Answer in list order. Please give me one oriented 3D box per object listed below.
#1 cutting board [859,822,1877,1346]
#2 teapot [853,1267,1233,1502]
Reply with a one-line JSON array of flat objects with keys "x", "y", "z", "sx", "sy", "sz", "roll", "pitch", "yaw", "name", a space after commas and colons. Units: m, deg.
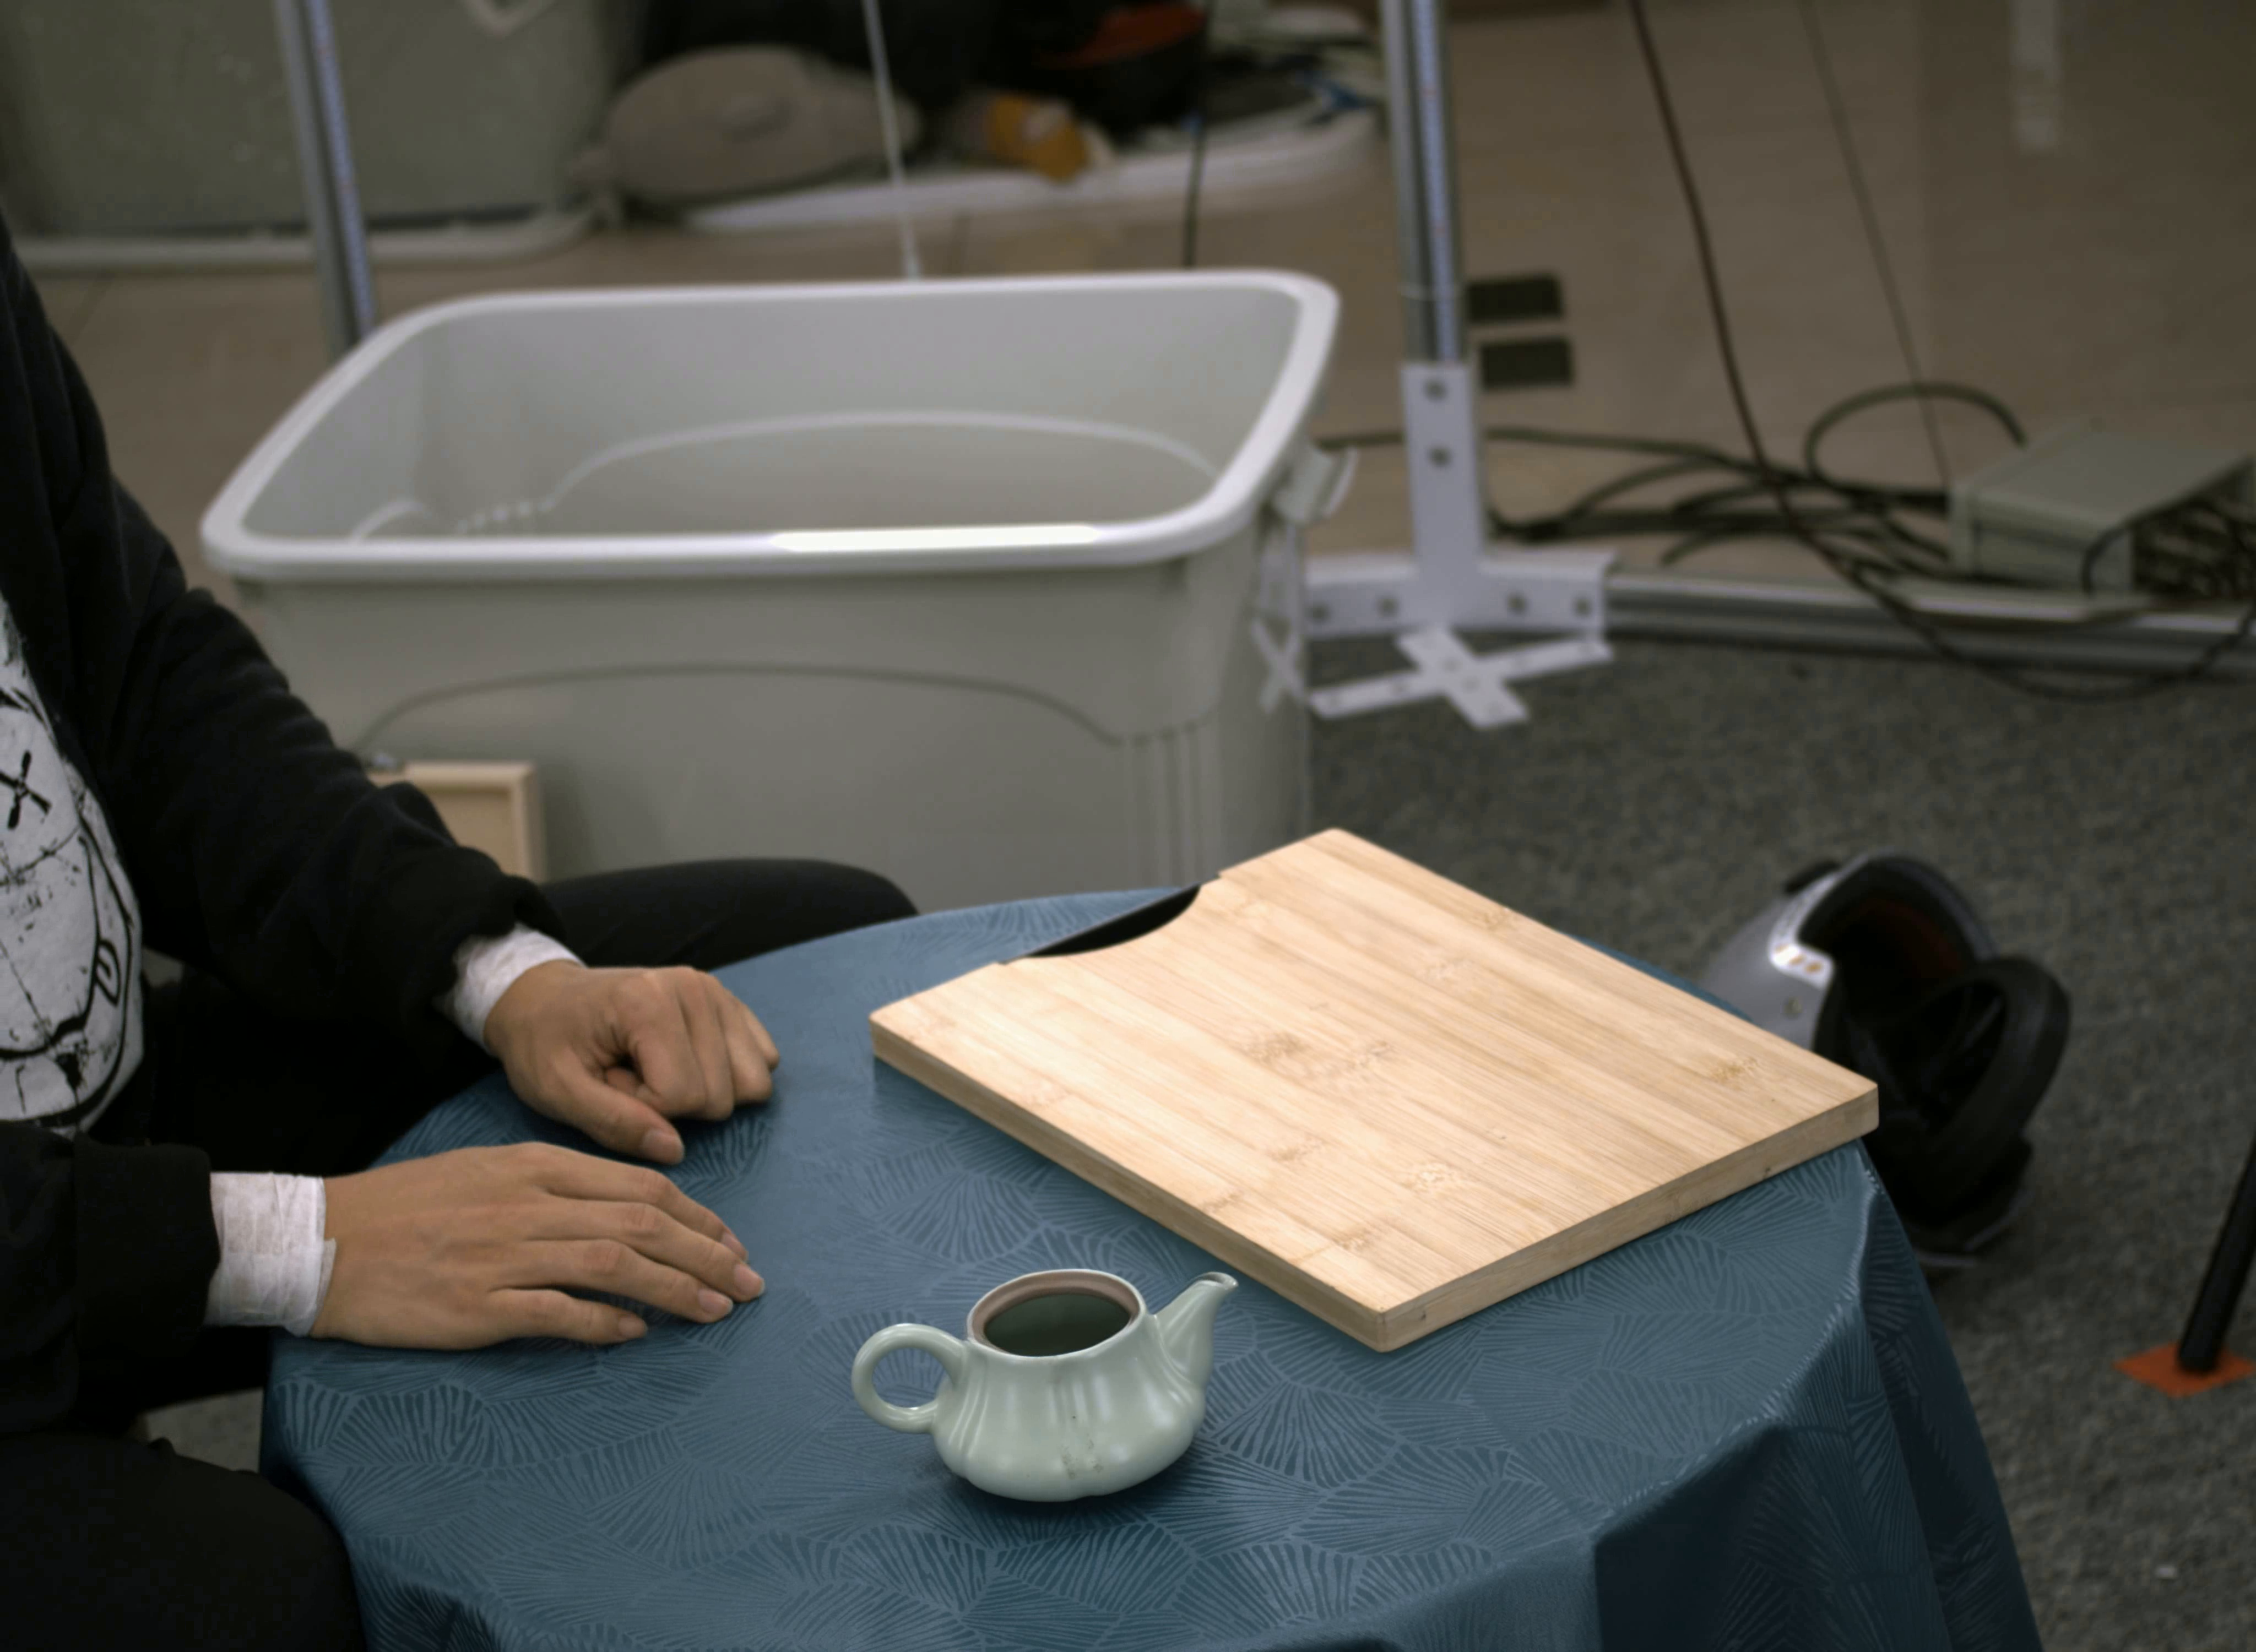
[{"x": 0.087, "y": 0.094, "z": 2.207, "sx": 0.249, "sy": 0.024, "sz": 0.345, "roll": -22, "pitch": 29, "yaw": -30, "name": "cutting board"}, {"x": -0.027, "y": 0.193, "z": 1.969, "sx": 0.136, "sy": 0.062, "sz": 0.095, "roll": -10, "pitch": 27, "yaw": -8, "name": "teapot"}]
